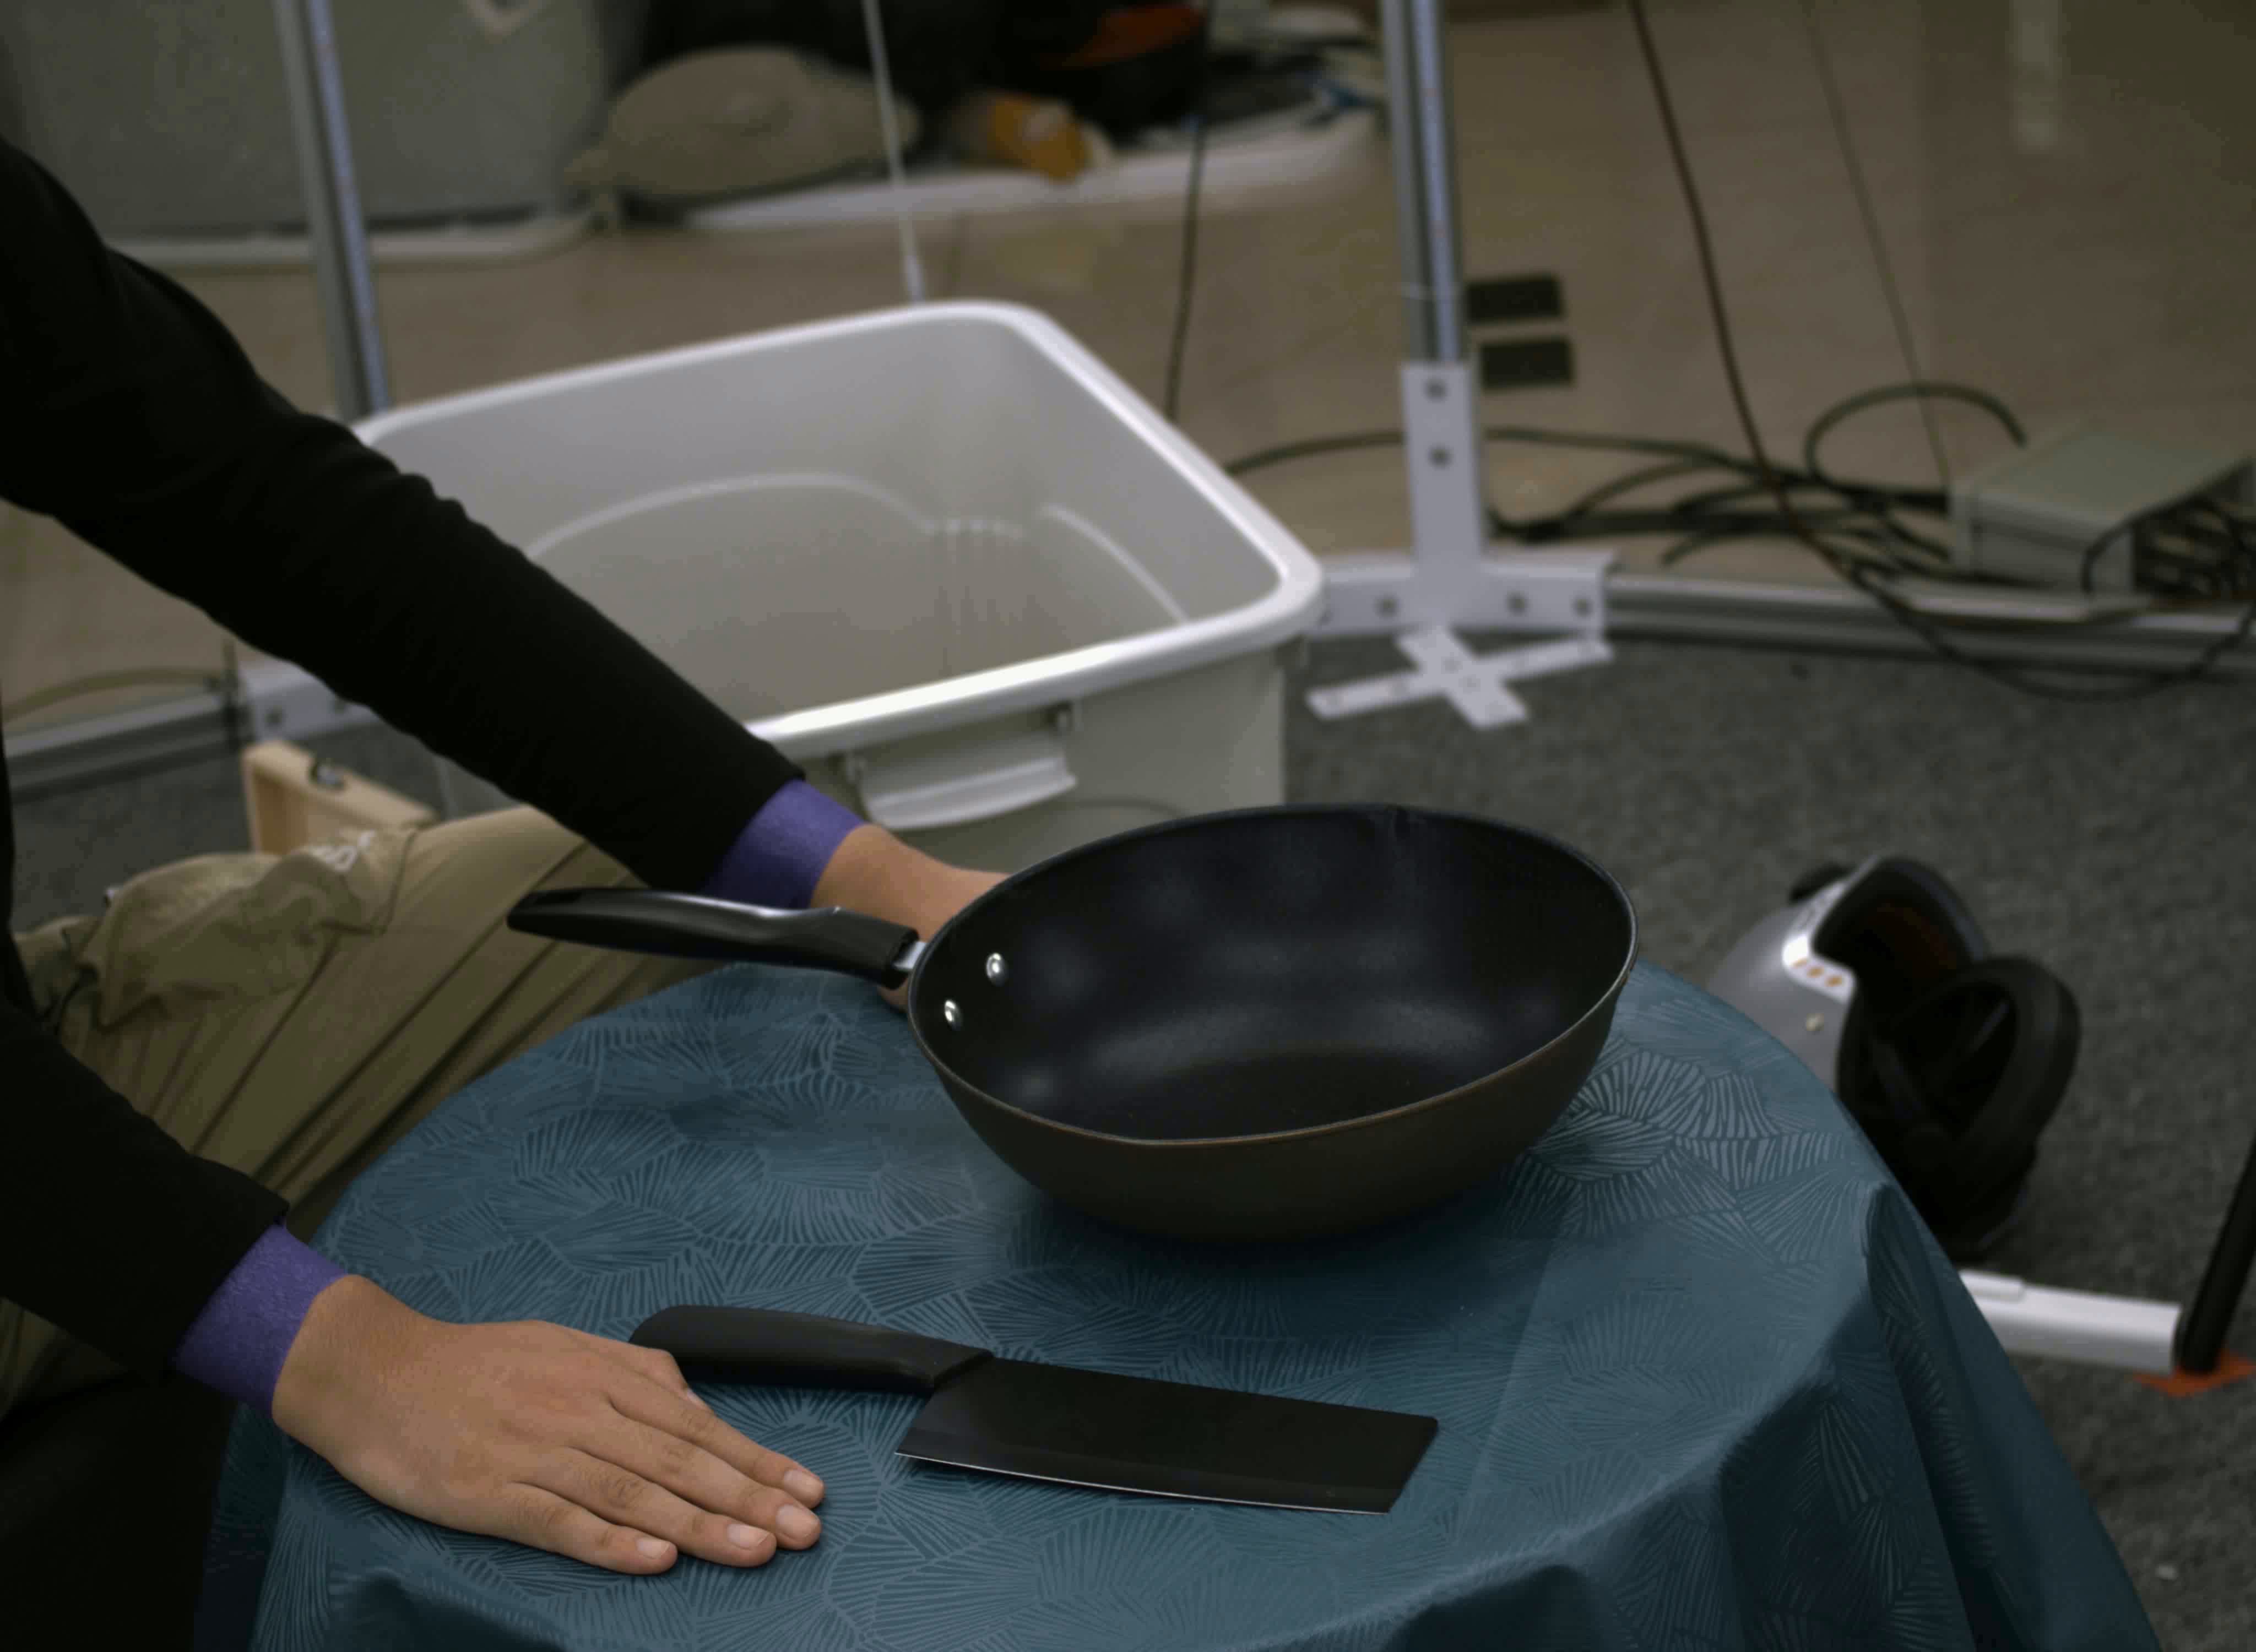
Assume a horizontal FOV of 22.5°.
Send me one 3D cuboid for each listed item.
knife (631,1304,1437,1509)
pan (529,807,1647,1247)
[{"bbox_3d":[-0.039,0.205,2.004,0.301,0.021,0.080,8,30,24],"label":"knife"},{"bbox_3d":[-0.024,0.079,2.186,0.462,0.088,0.284,4,27,23],"label":"pan"}]
